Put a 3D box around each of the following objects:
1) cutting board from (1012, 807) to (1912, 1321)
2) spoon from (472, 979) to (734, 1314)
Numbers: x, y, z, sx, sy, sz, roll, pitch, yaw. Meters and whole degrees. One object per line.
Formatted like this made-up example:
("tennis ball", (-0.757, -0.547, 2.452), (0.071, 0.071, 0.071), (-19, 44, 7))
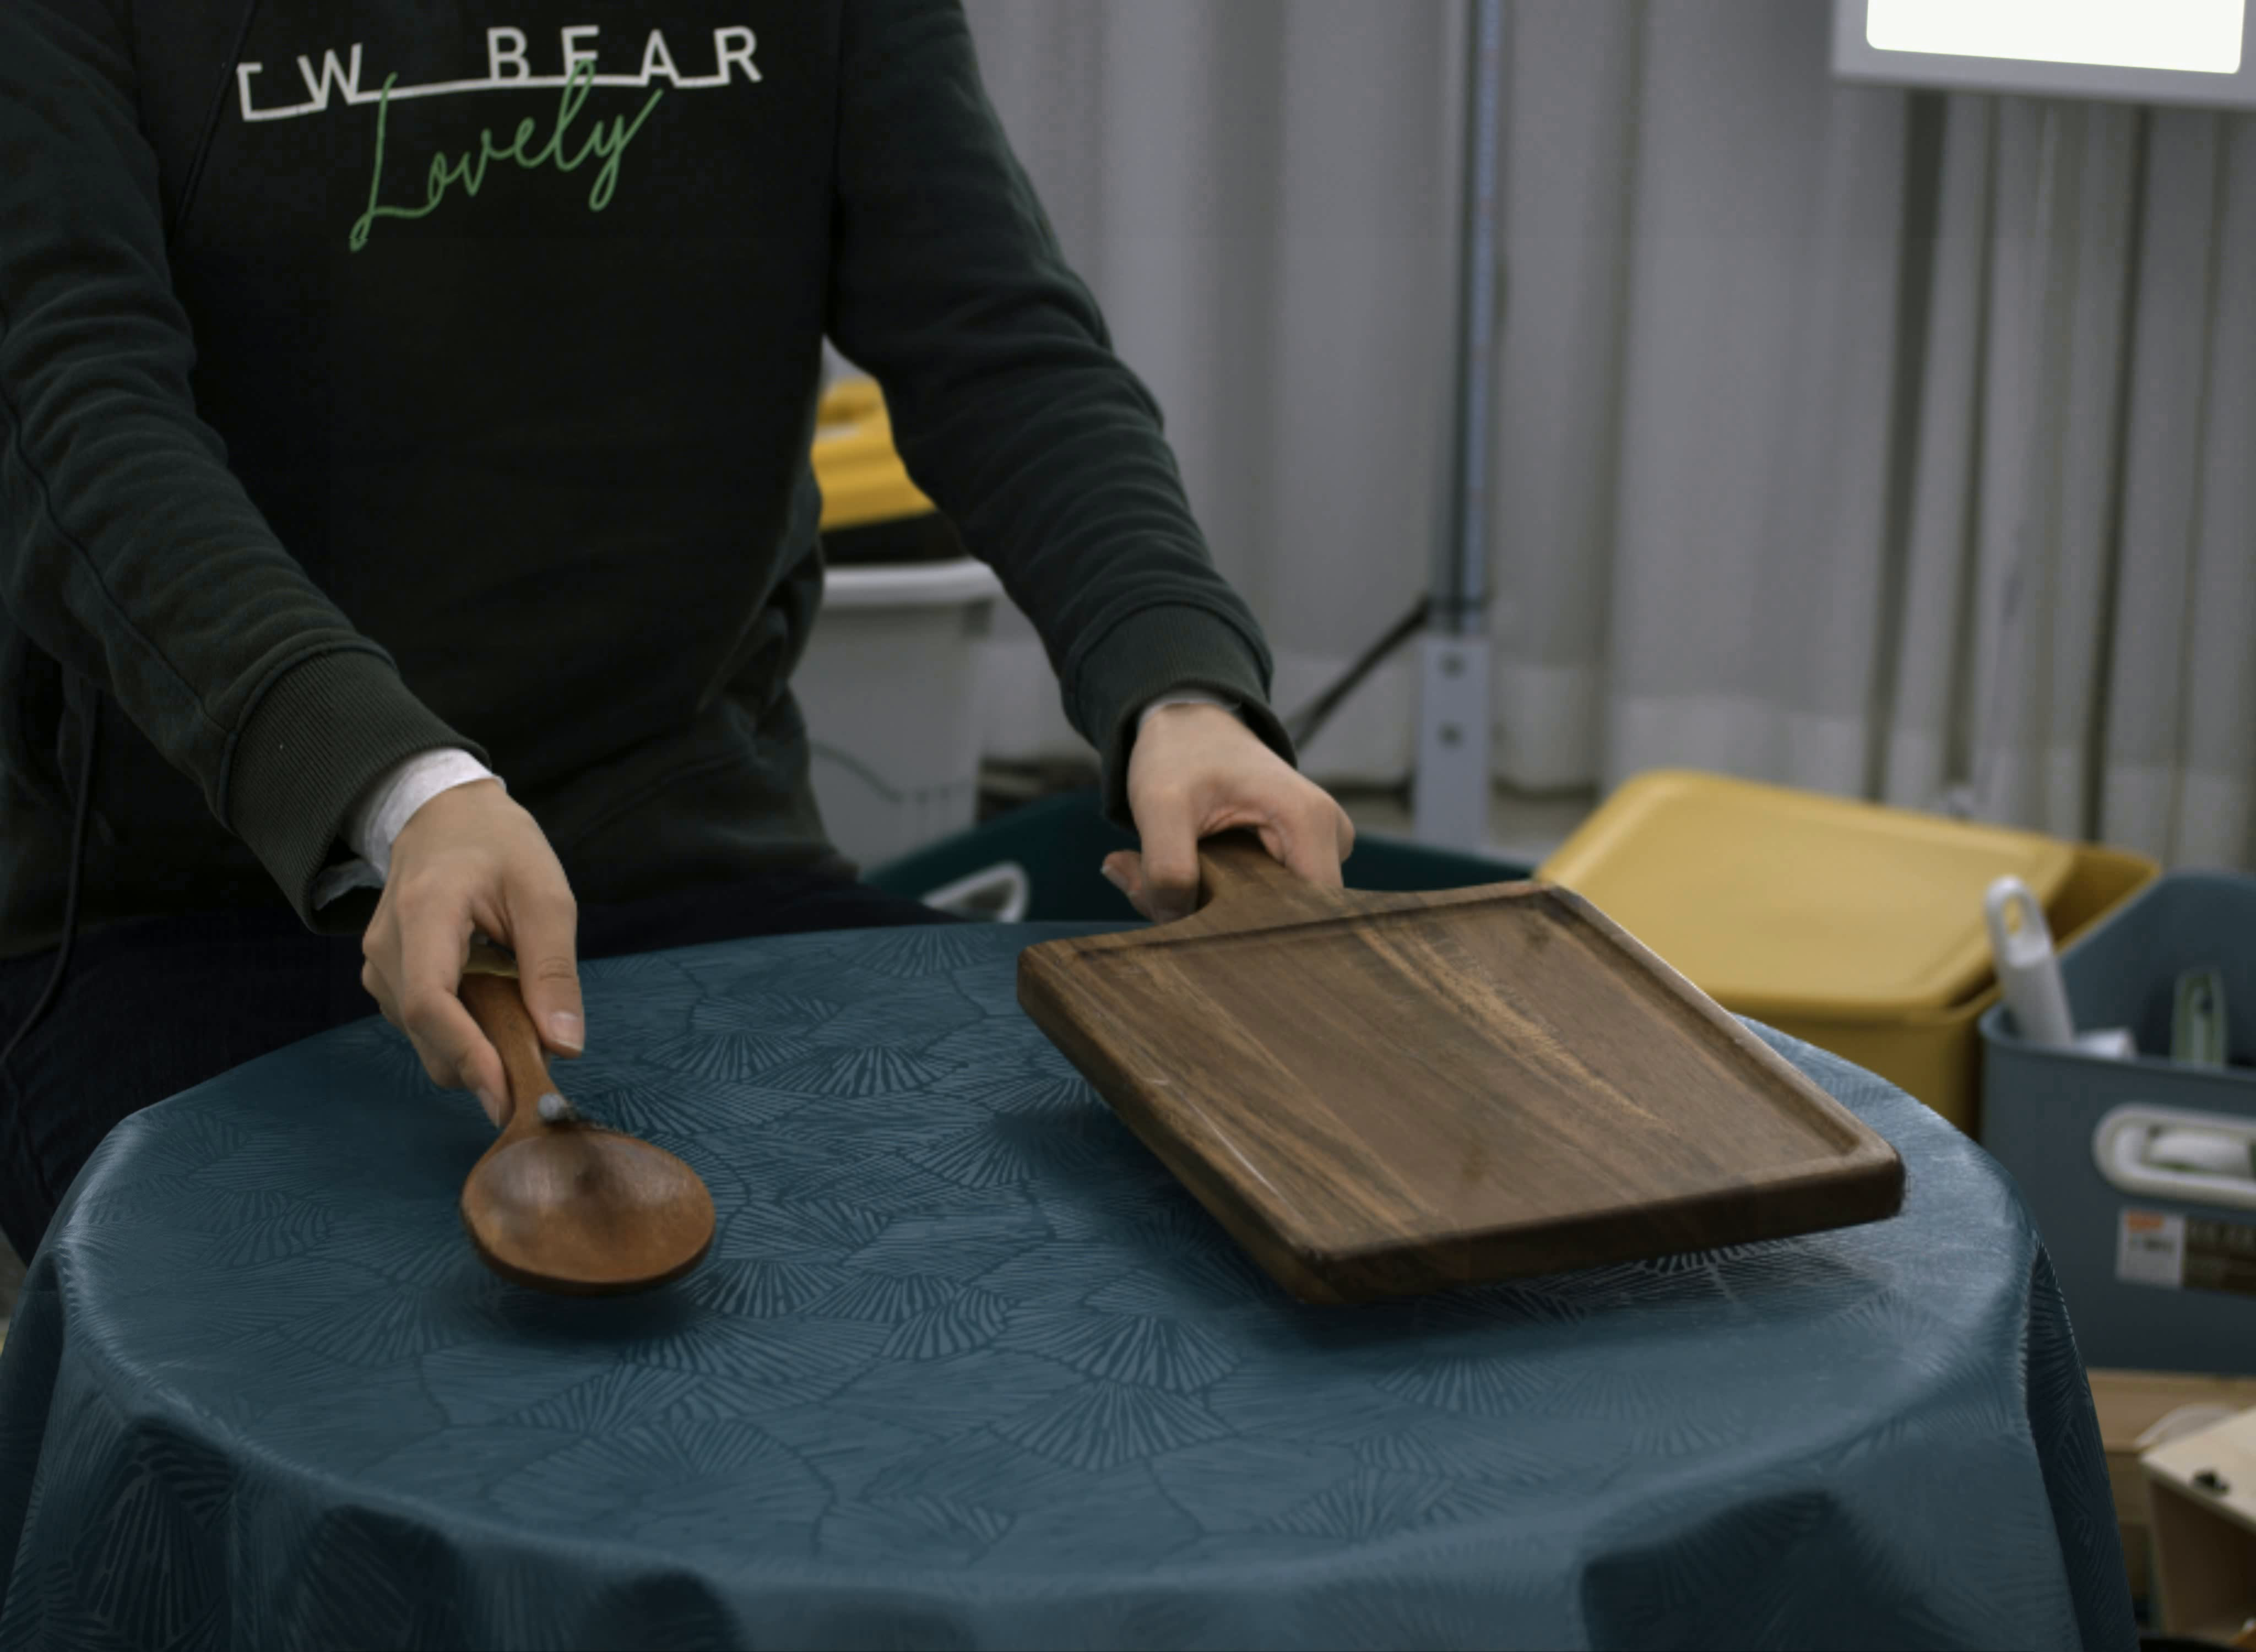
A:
("cutting board", (0.080, 0.061, 1.668), (0.201, 0.023, 0.348), (-8, 23, -20))
("spoon", (-0.161, 0.096, 1.576), (0.075, 0.017, 0.214), (1, 23, -10))
